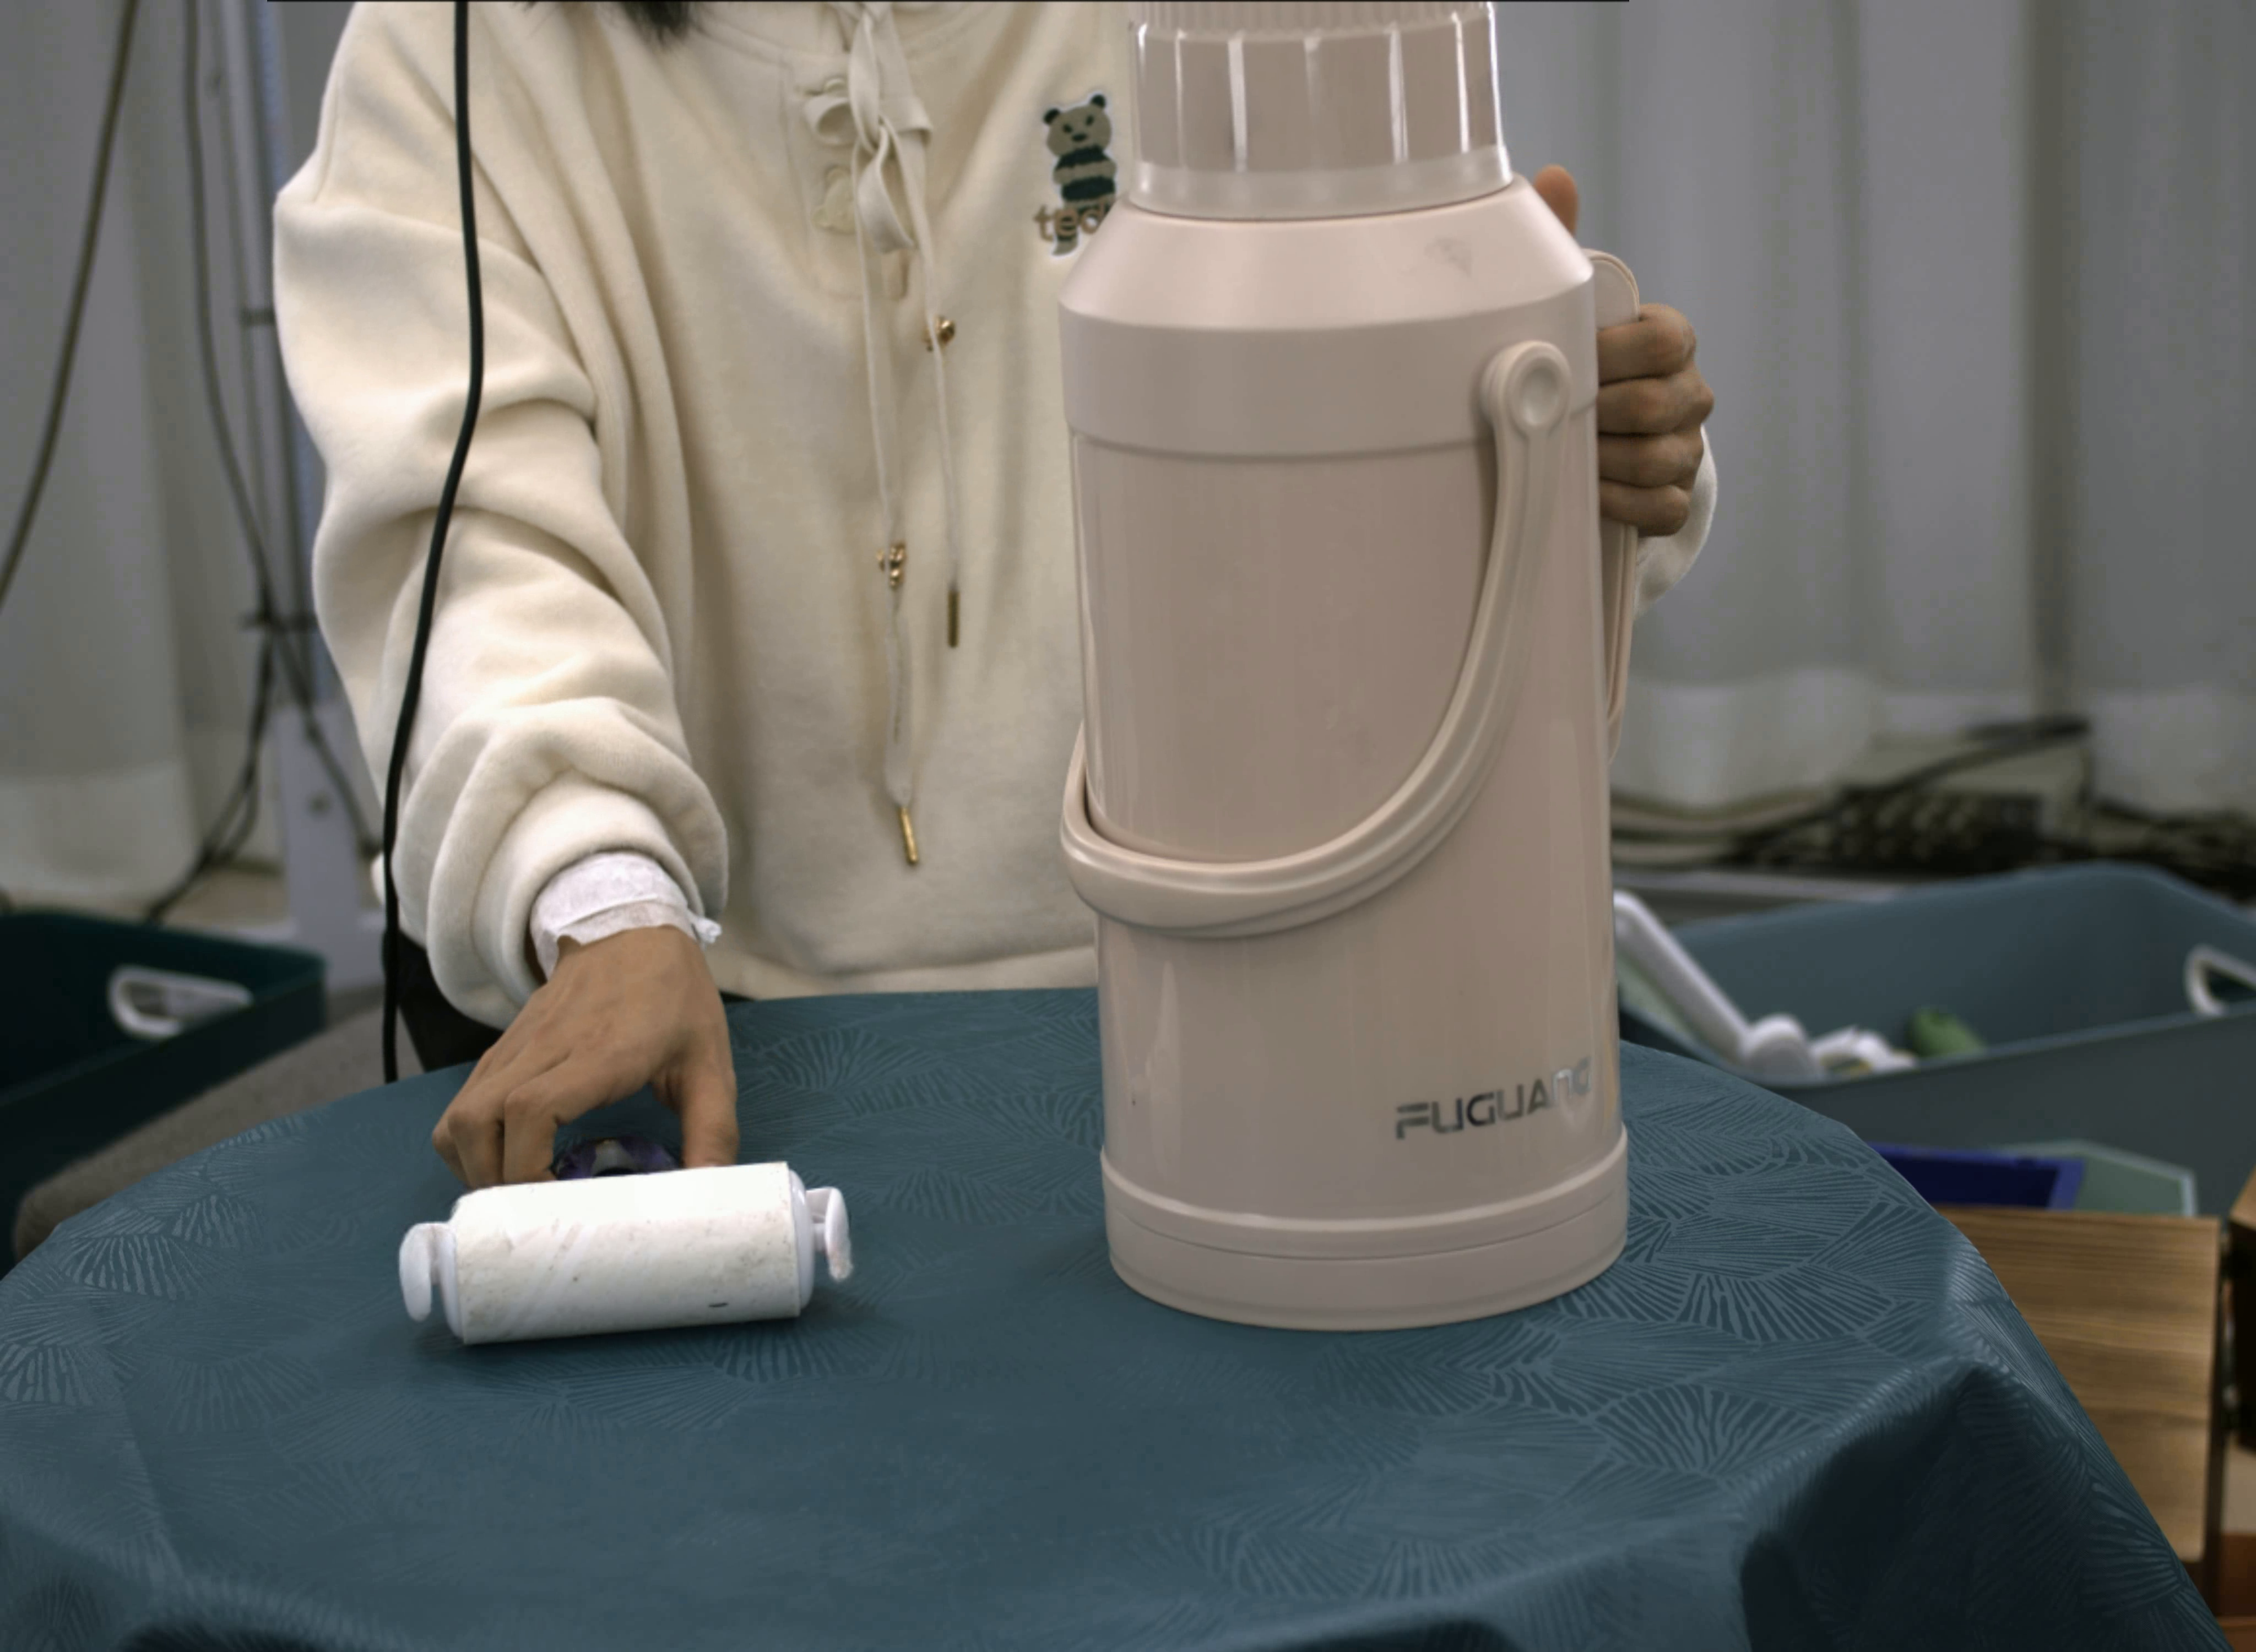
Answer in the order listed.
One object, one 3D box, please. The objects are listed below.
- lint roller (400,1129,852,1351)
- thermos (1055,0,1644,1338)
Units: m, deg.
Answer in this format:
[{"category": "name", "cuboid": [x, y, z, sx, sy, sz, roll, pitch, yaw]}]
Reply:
[{"category": "lint roller", "cuboid": [-0.153, 0.109, 1.673, 0.132, 0.050, 0.182, -5, 17, -4]}, {"category": "thermos", "cuboid": [0.073, -0.067, 1.617, 0.206, 0.405, 0.176, -14, 17, -38]}]
